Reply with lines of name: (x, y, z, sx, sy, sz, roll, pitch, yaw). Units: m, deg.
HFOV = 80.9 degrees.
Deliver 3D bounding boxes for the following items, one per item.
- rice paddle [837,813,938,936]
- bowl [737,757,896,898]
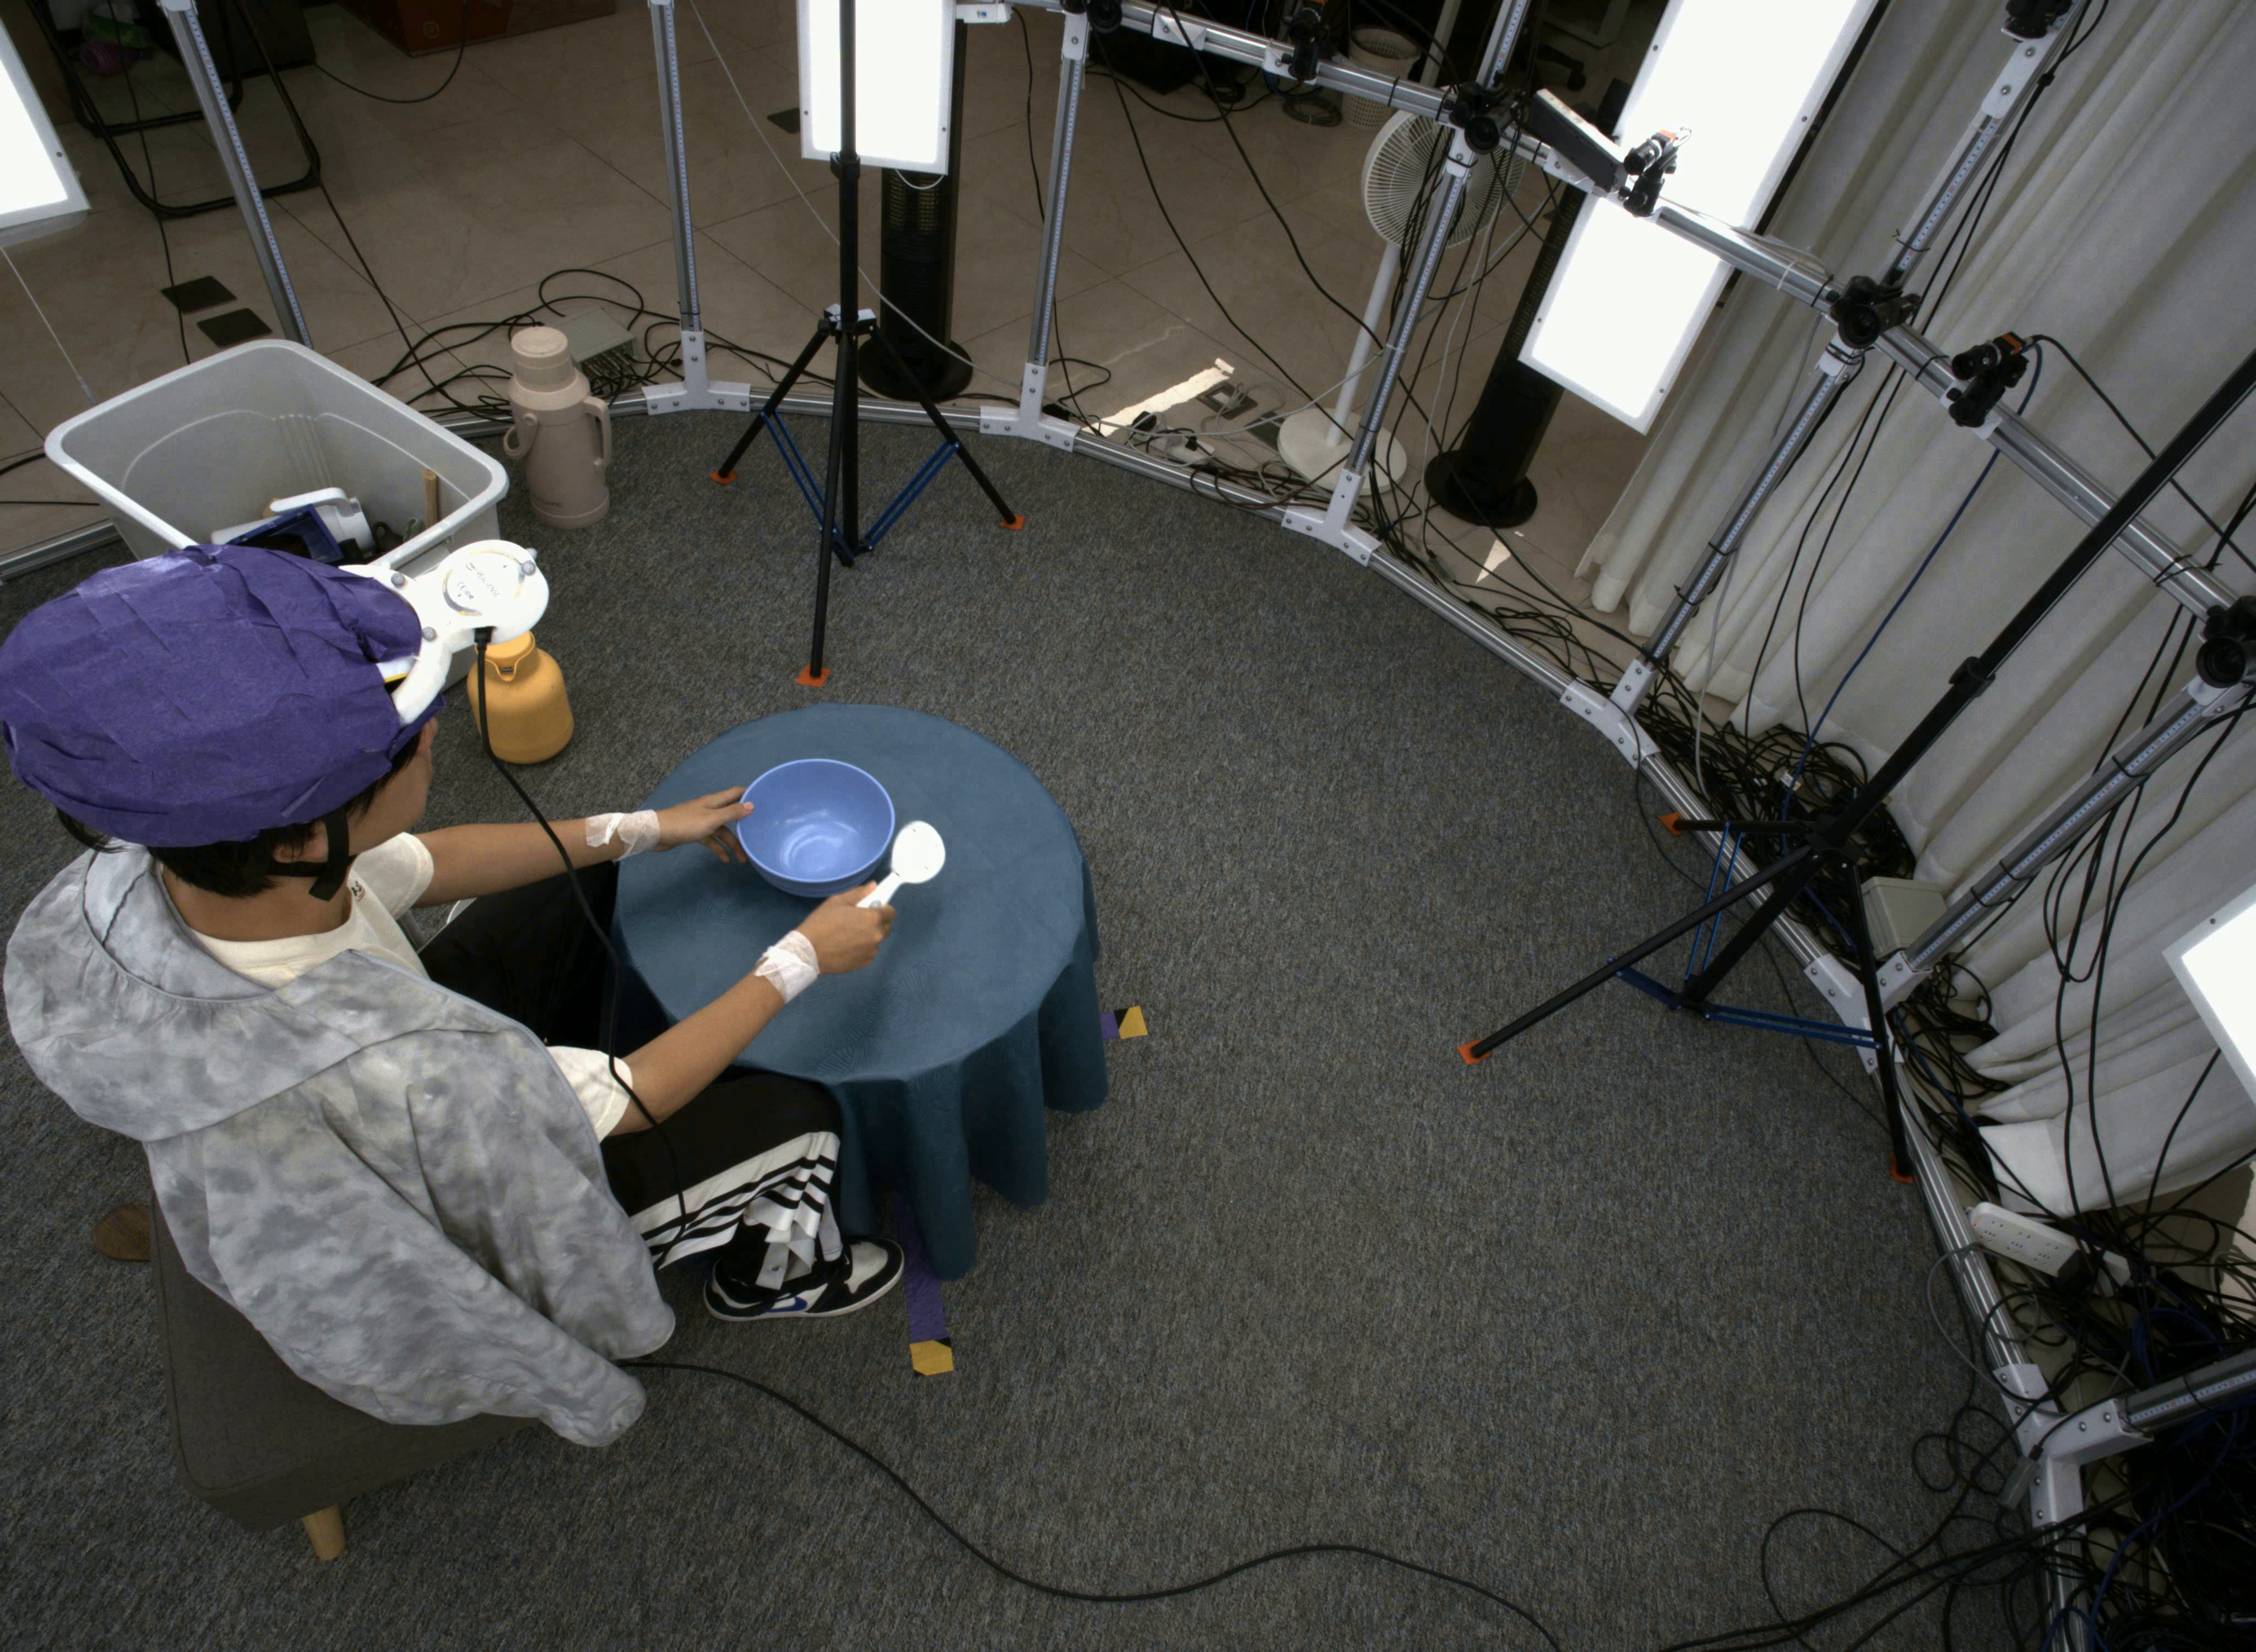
rice paddle: (-0.288, 0.054, 1.580, 0.070, 0.029, 0.204, 53, 40, -19)
bowl: (-0.397, 0.016, 1.657, 0.196, 0.097, 0.193, 9, 51, -10)
